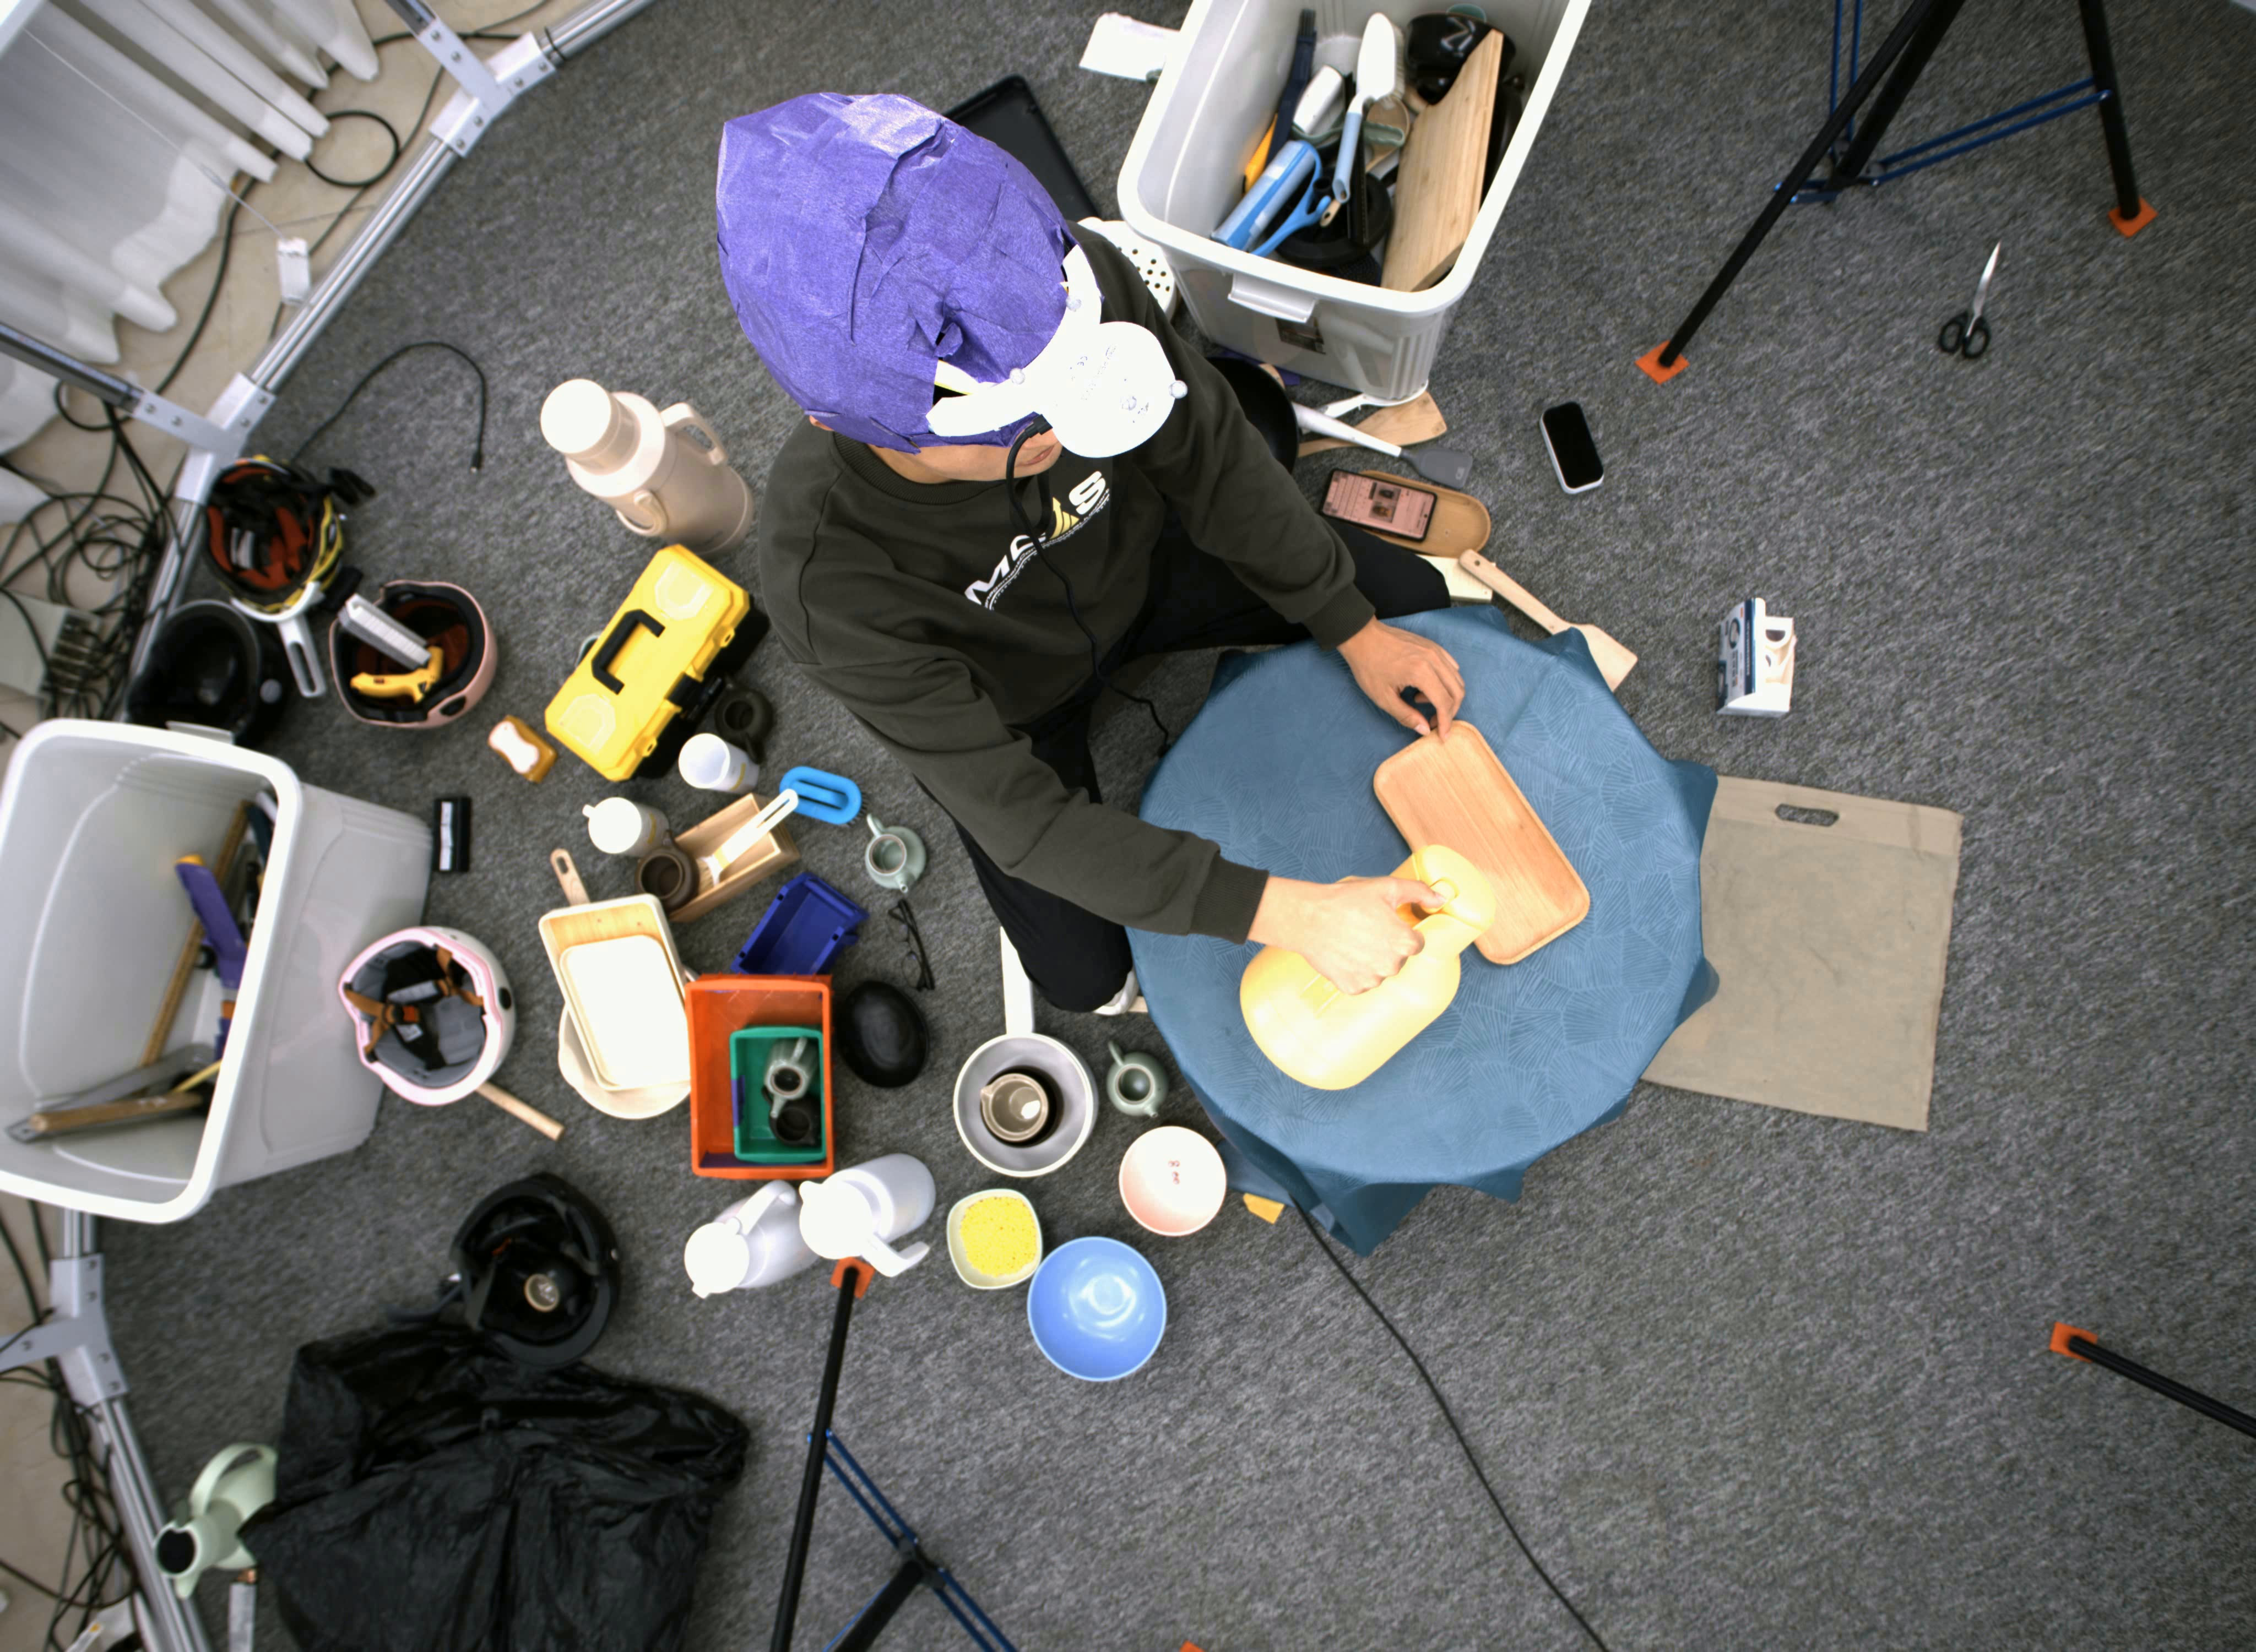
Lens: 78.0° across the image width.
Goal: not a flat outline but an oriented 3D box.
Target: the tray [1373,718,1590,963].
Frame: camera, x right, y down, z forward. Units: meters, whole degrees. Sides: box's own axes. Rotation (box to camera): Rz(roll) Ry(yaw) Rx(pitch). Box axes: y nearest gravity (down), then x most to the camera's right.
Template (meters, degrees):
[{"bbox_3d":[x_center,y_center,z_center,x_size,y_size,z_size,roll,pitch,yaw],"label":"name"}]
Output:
[{"bbox_3d":[0.367,0.012,1.437,0.131,0.023,0.249,-32,81,5],"label":"tray"}]

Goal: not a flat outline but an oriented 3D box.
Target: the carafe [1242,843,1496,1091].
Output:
[{"bbox_3d":[0.225,0.130,1.314,0.162,0.199,0.266,50,125,18],"label":"carafe"}]
